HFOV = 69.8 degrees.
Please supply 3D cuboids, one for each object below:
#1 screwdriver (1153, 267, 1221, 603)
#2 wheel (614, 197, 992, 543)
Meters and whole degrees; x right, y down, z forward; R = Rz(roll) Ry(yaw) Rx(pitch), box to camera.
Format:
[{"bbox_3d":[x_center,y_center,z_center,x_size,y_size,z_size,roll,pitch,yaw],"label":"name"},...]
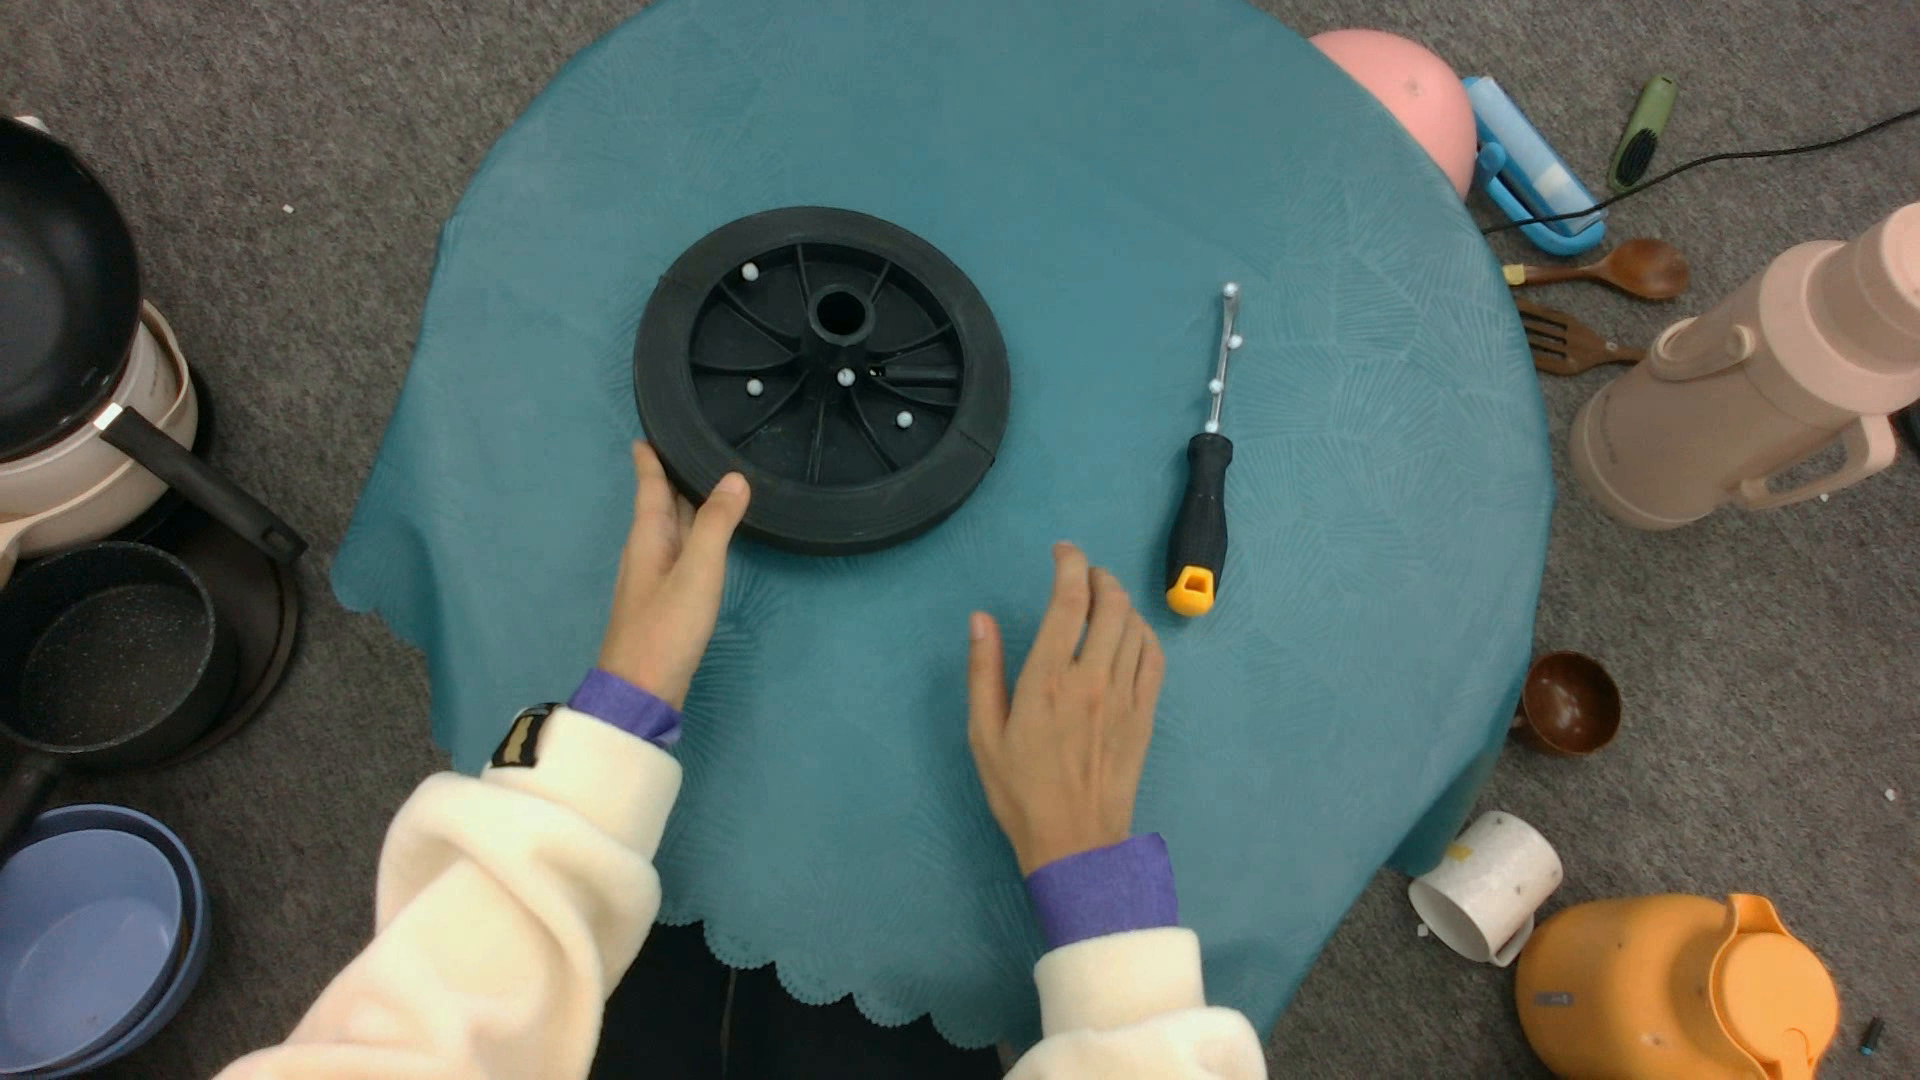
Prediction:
[{"bbox_3d":[0.127,-0.060,0.719,0.031,0.031,0.198,15,67,-3],"label":"screwdriver"},{"bbox_3d":[-0.071,-0.097,0.672,0.190,0.079,0.187,-23,76,-23],"label":"wheel"}]
